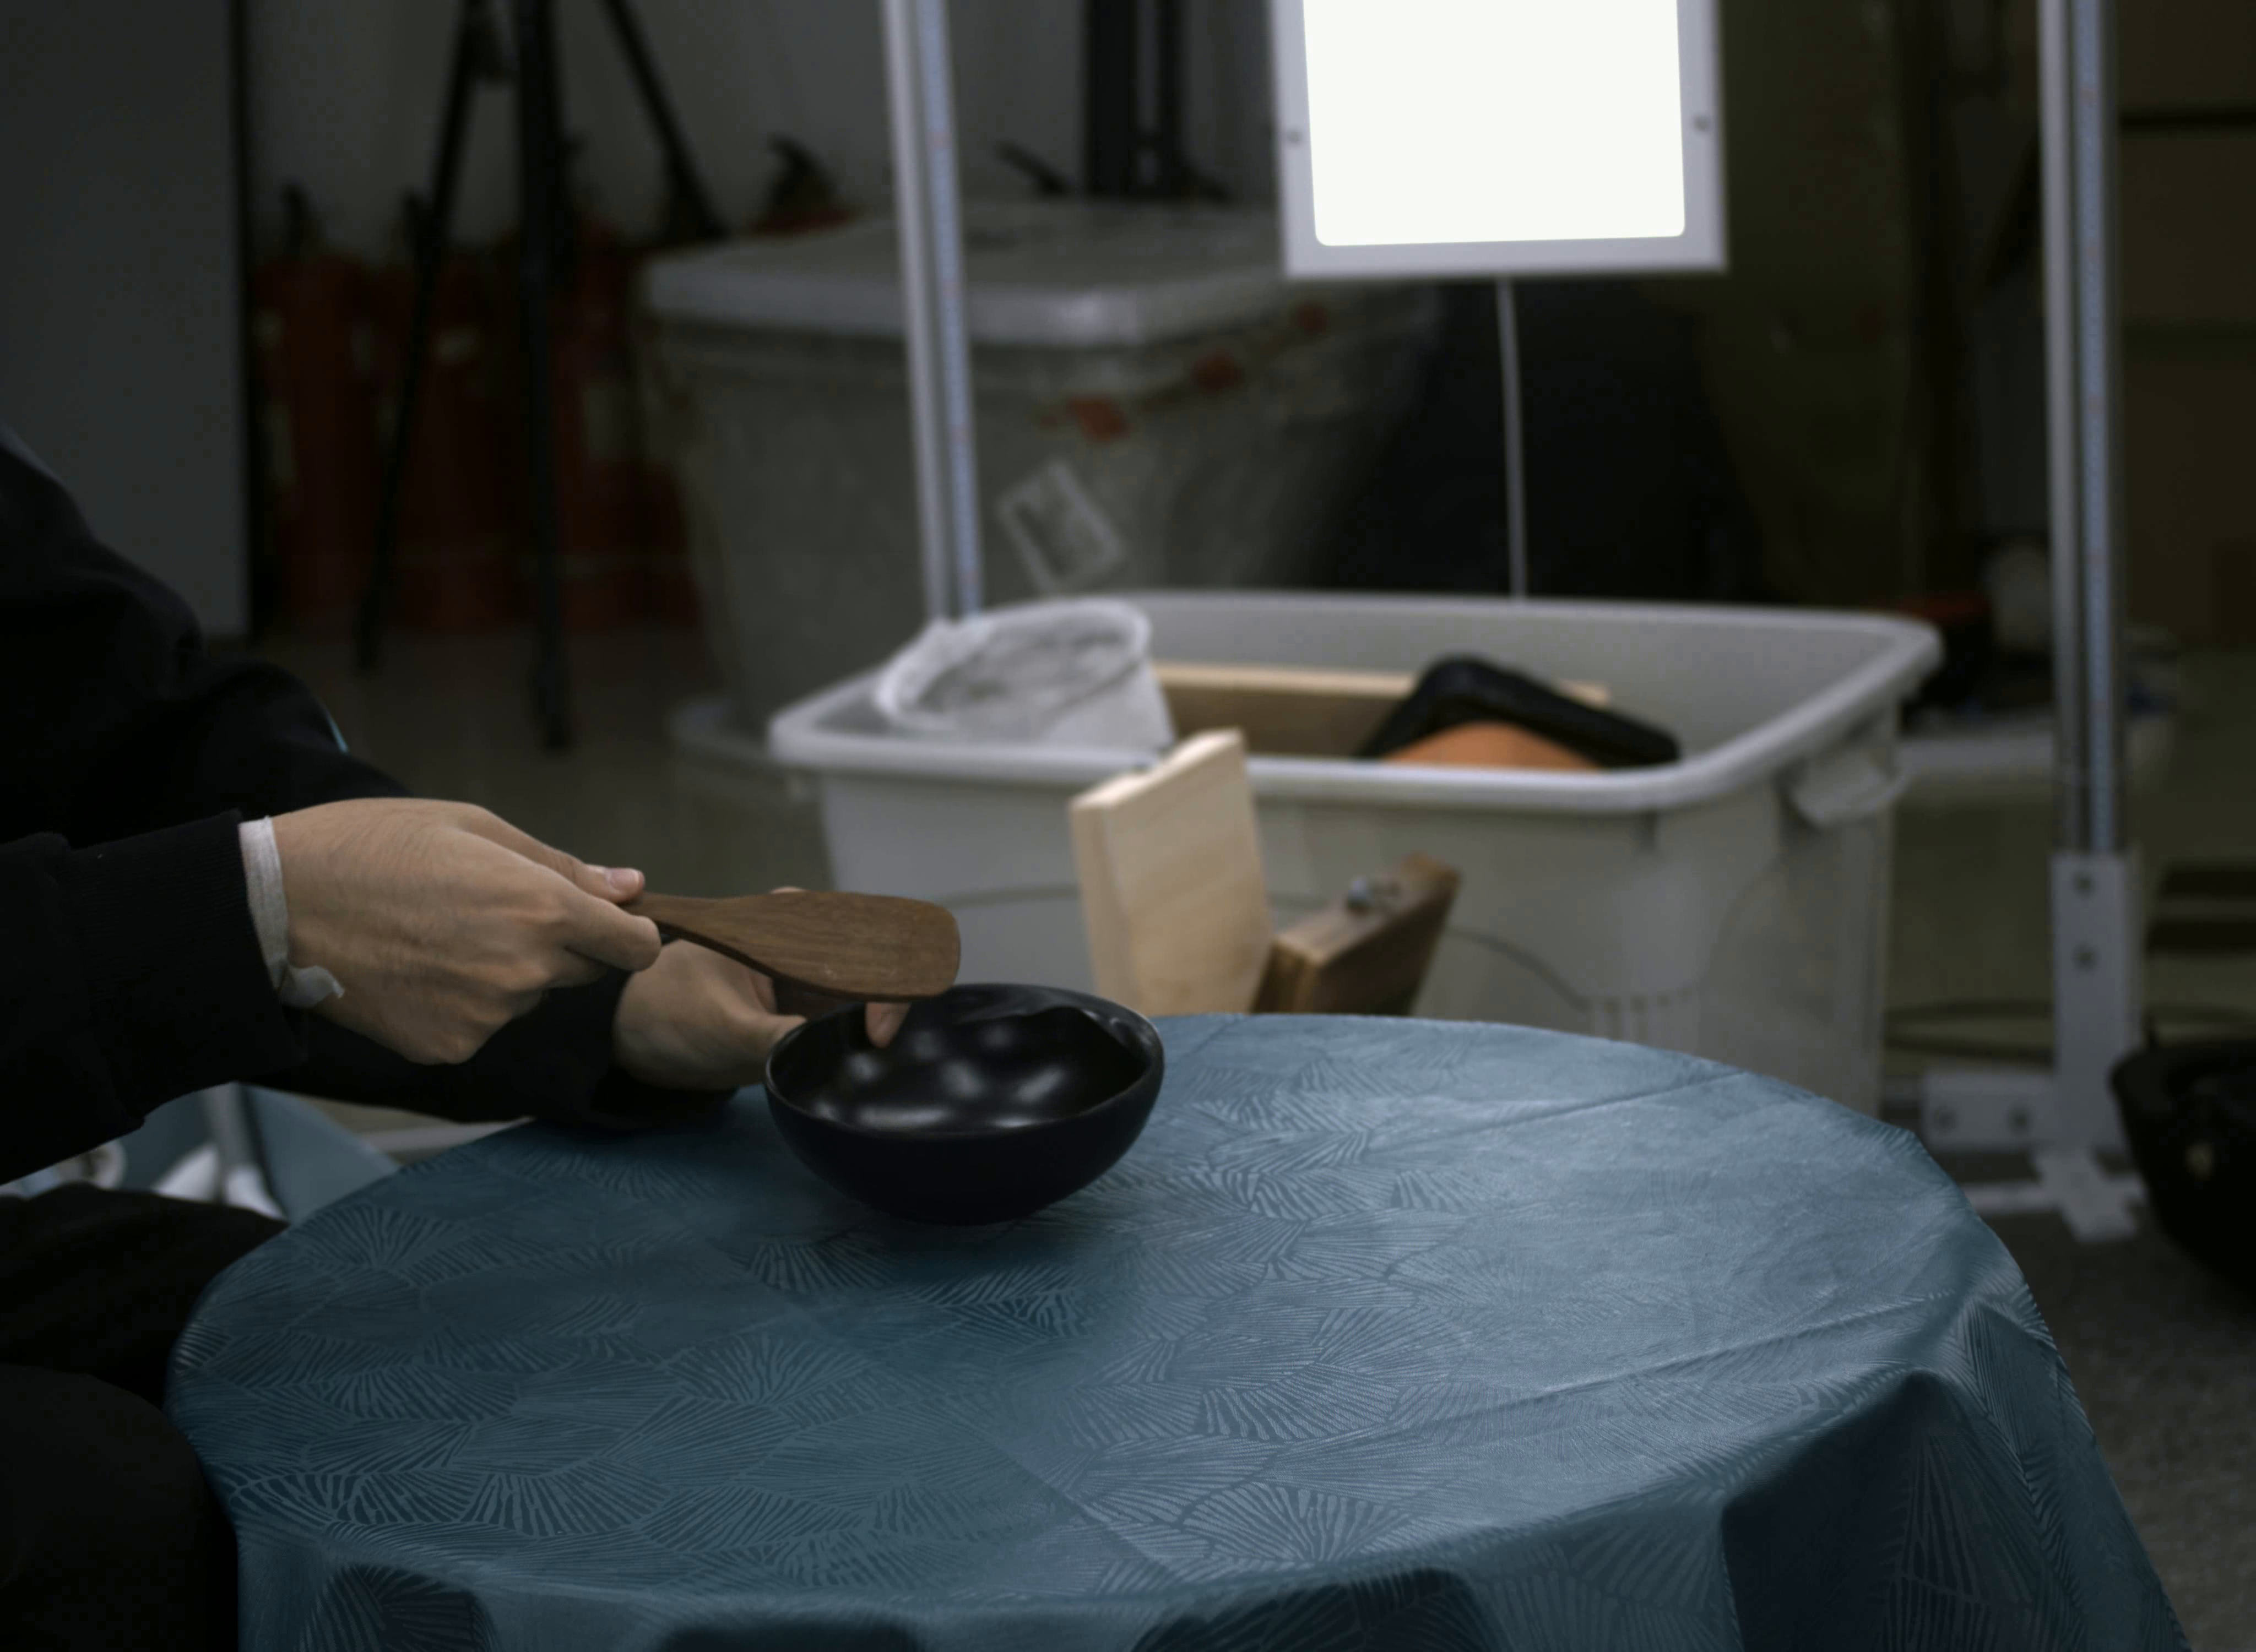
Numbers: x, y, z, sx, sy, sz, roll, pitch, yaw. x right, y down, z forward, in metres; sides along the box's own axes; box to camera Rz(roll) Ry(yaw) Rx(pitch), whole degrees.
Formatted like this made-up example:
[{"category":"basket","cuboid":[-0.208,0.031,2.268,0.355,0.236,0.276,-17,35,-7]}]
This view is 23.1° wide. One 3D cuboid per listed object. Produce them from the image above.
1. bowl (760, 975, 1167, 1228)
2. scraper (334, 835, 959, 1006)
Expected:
[{"category":"bowl","cuboid":[-0.055,0.101,1.889,0.140,0.050,0.140,-5,22,1]},{"category":"scraper","cuboid":[-0.160,0.028,1.843,0.210,0.011,0.075,10,24,-4]}]
